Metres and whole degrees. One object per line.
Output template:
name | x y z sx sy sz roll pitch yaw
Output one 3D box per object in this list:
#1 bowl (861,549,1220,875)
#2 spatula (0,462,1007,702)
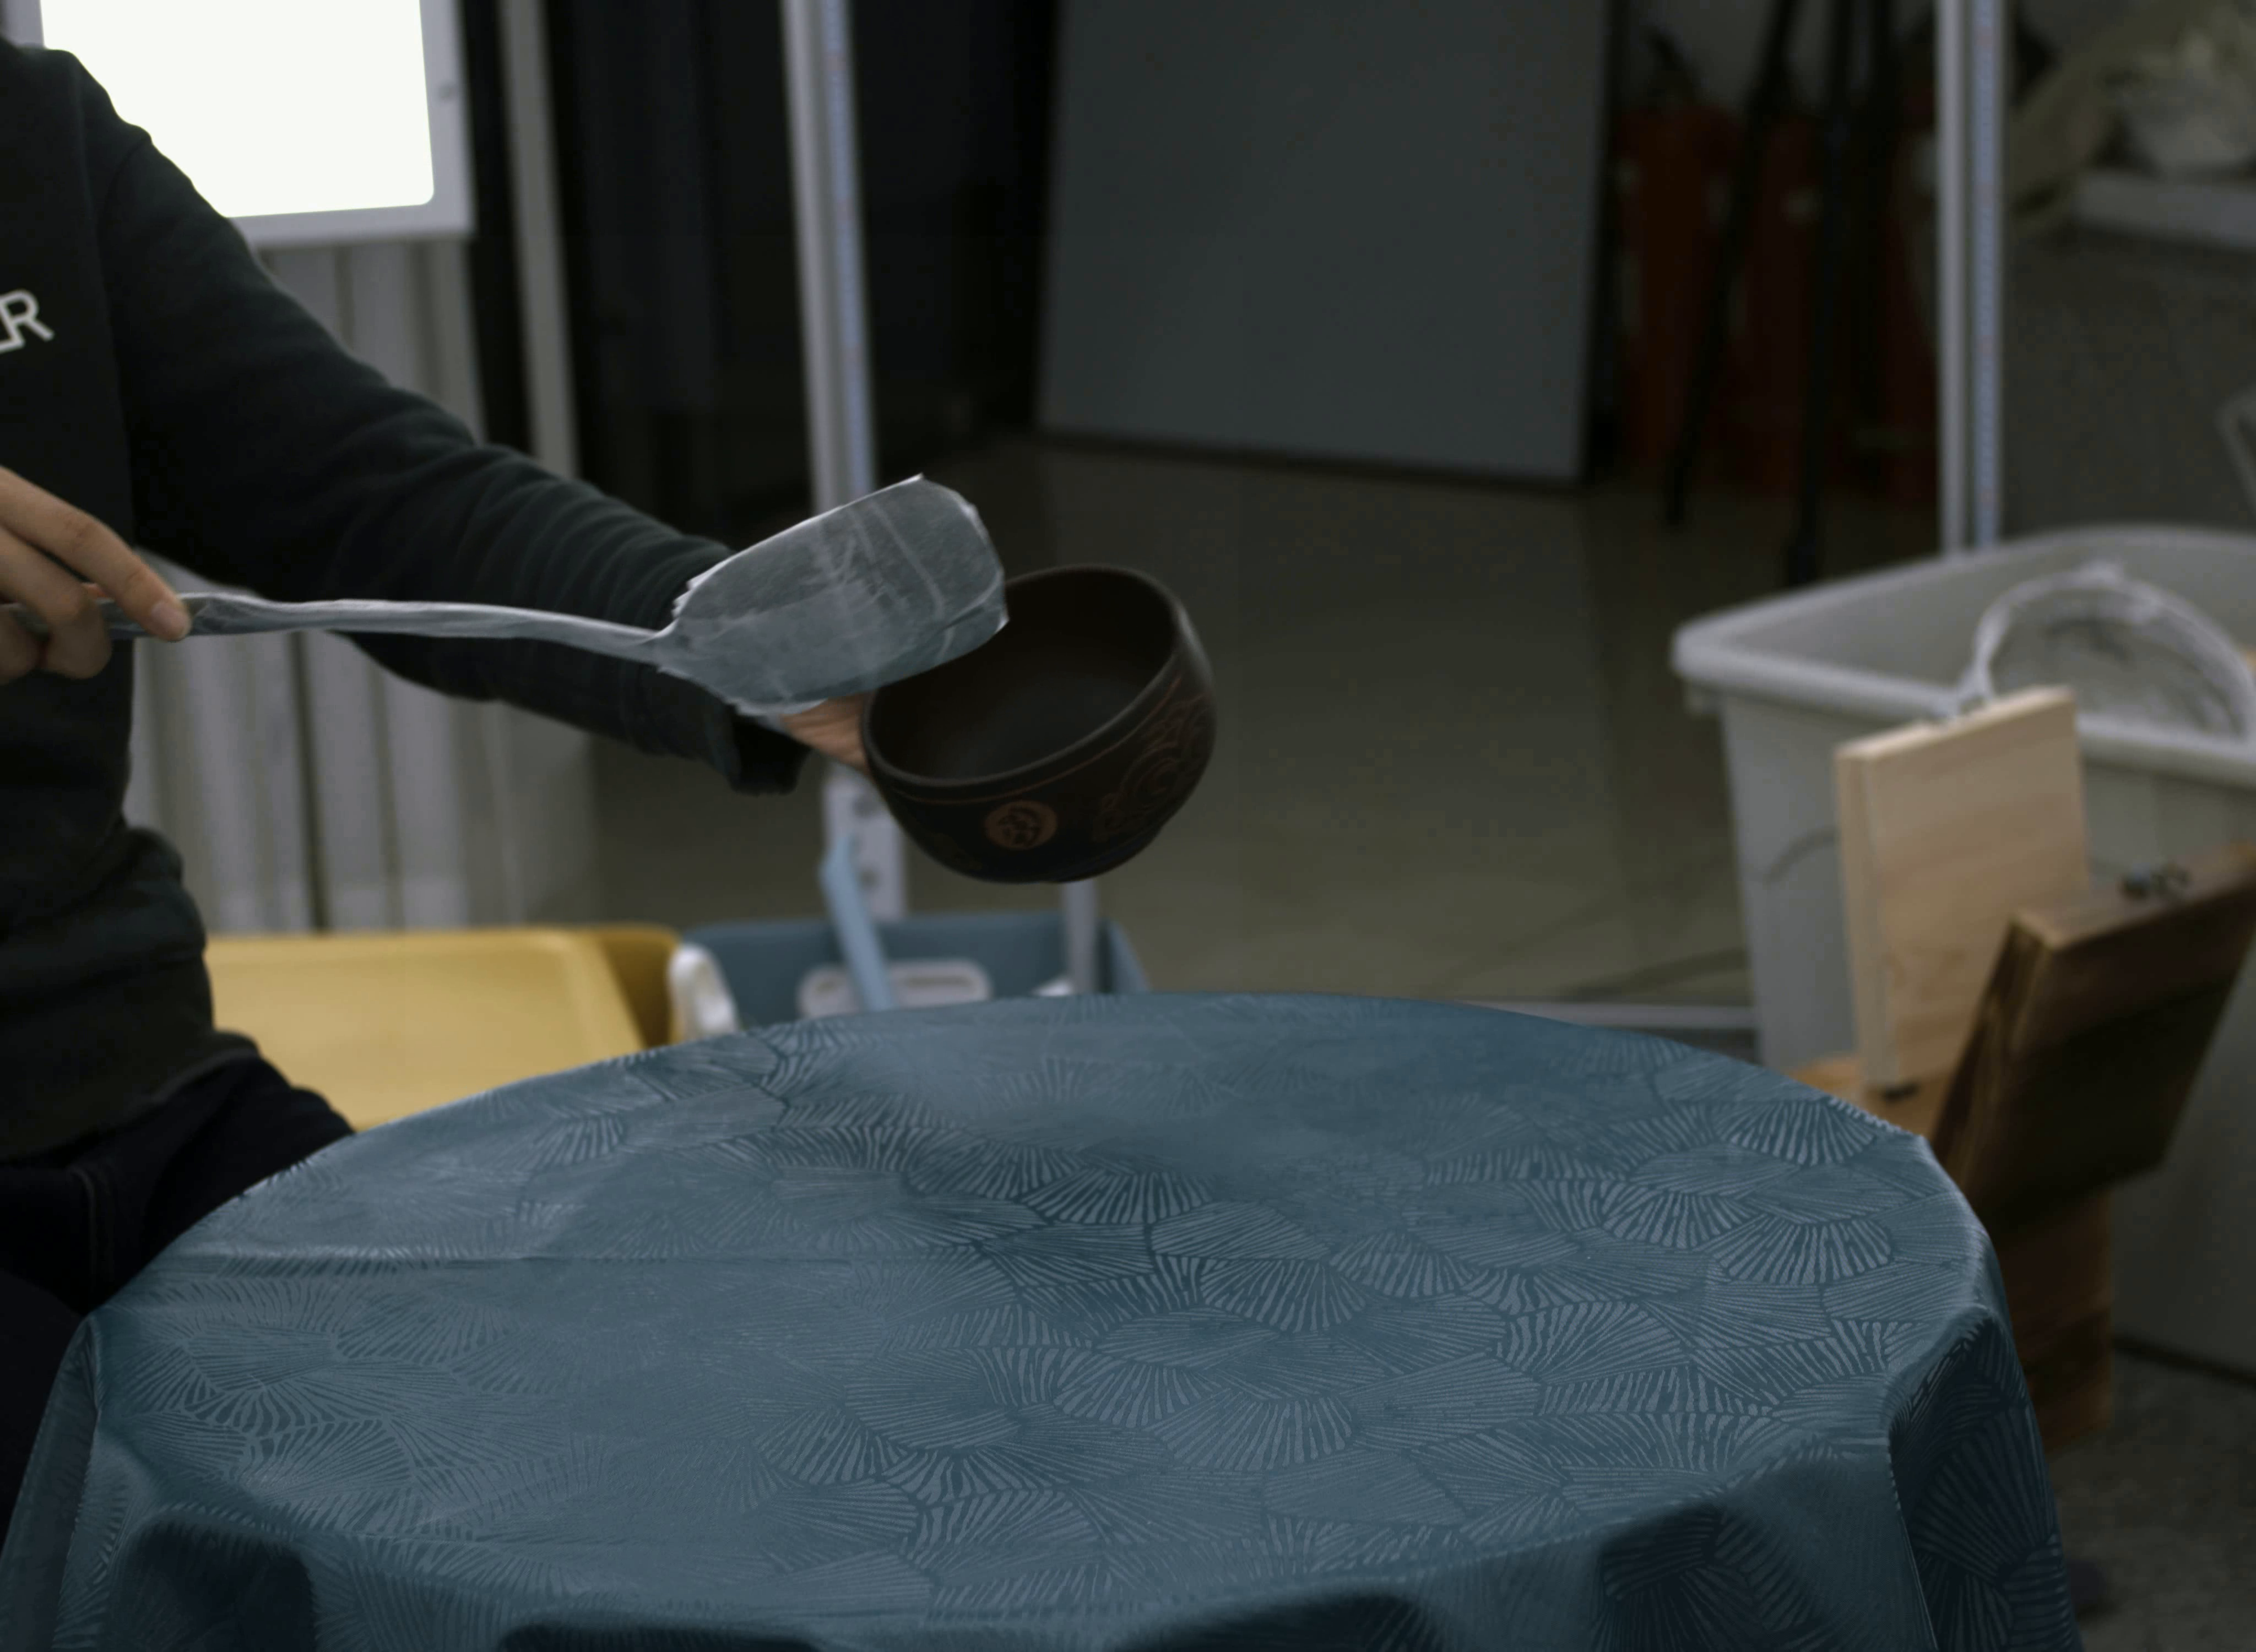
bowl | -0.023 -0.028 1.779 0.117 0.070 0.119 -18 33 11
spatula | -0.217 -0.066 1.670 0.363 0.045 0.098 0 -29 15
